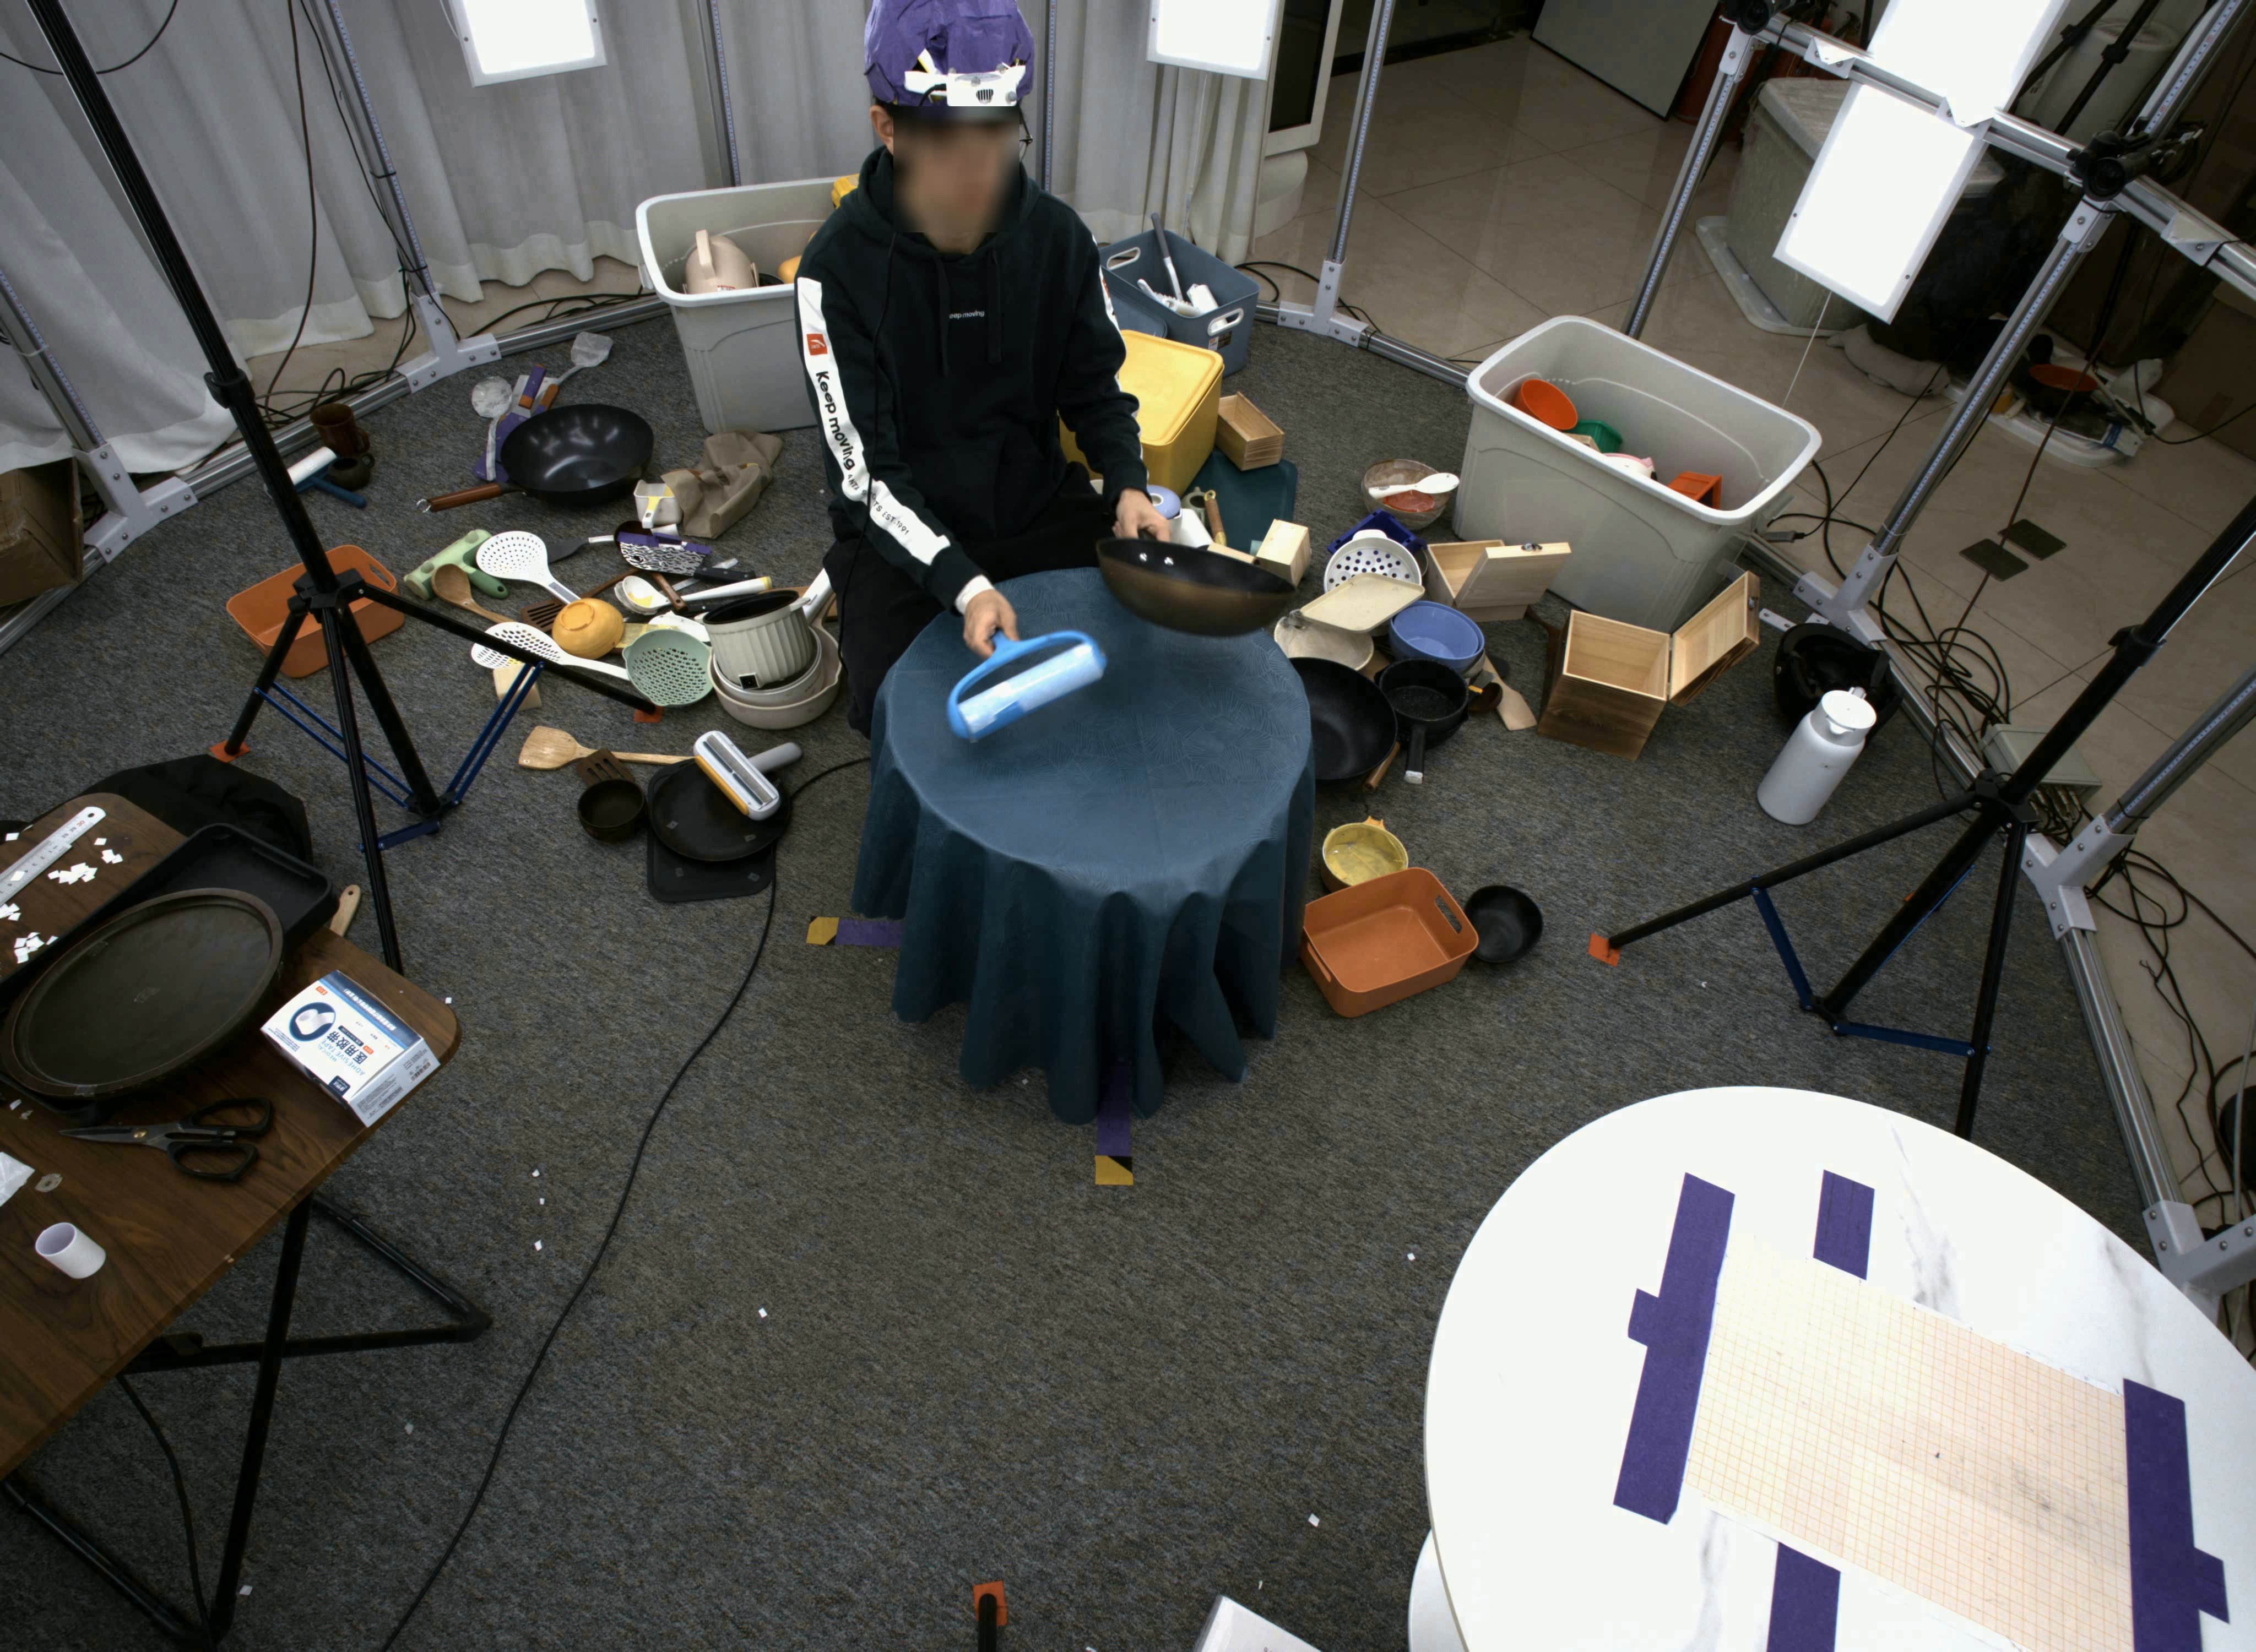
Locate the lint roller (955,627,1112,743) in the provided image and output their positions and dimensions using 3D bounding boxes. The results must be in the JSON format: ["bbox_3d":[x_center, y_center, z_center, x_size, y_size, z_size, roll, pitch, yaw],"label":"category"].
[{"bbox_3d":[-0.154,-0.221,1.741,0.229,0.066,0.184,-33,56,-9],"label":"lint roller"}]

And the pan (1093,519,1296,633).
[{"bbox_3d":[0.048,-0.360,1.832,0.286,0.086,0.472,4,20,-25],"label":"pan"}]
